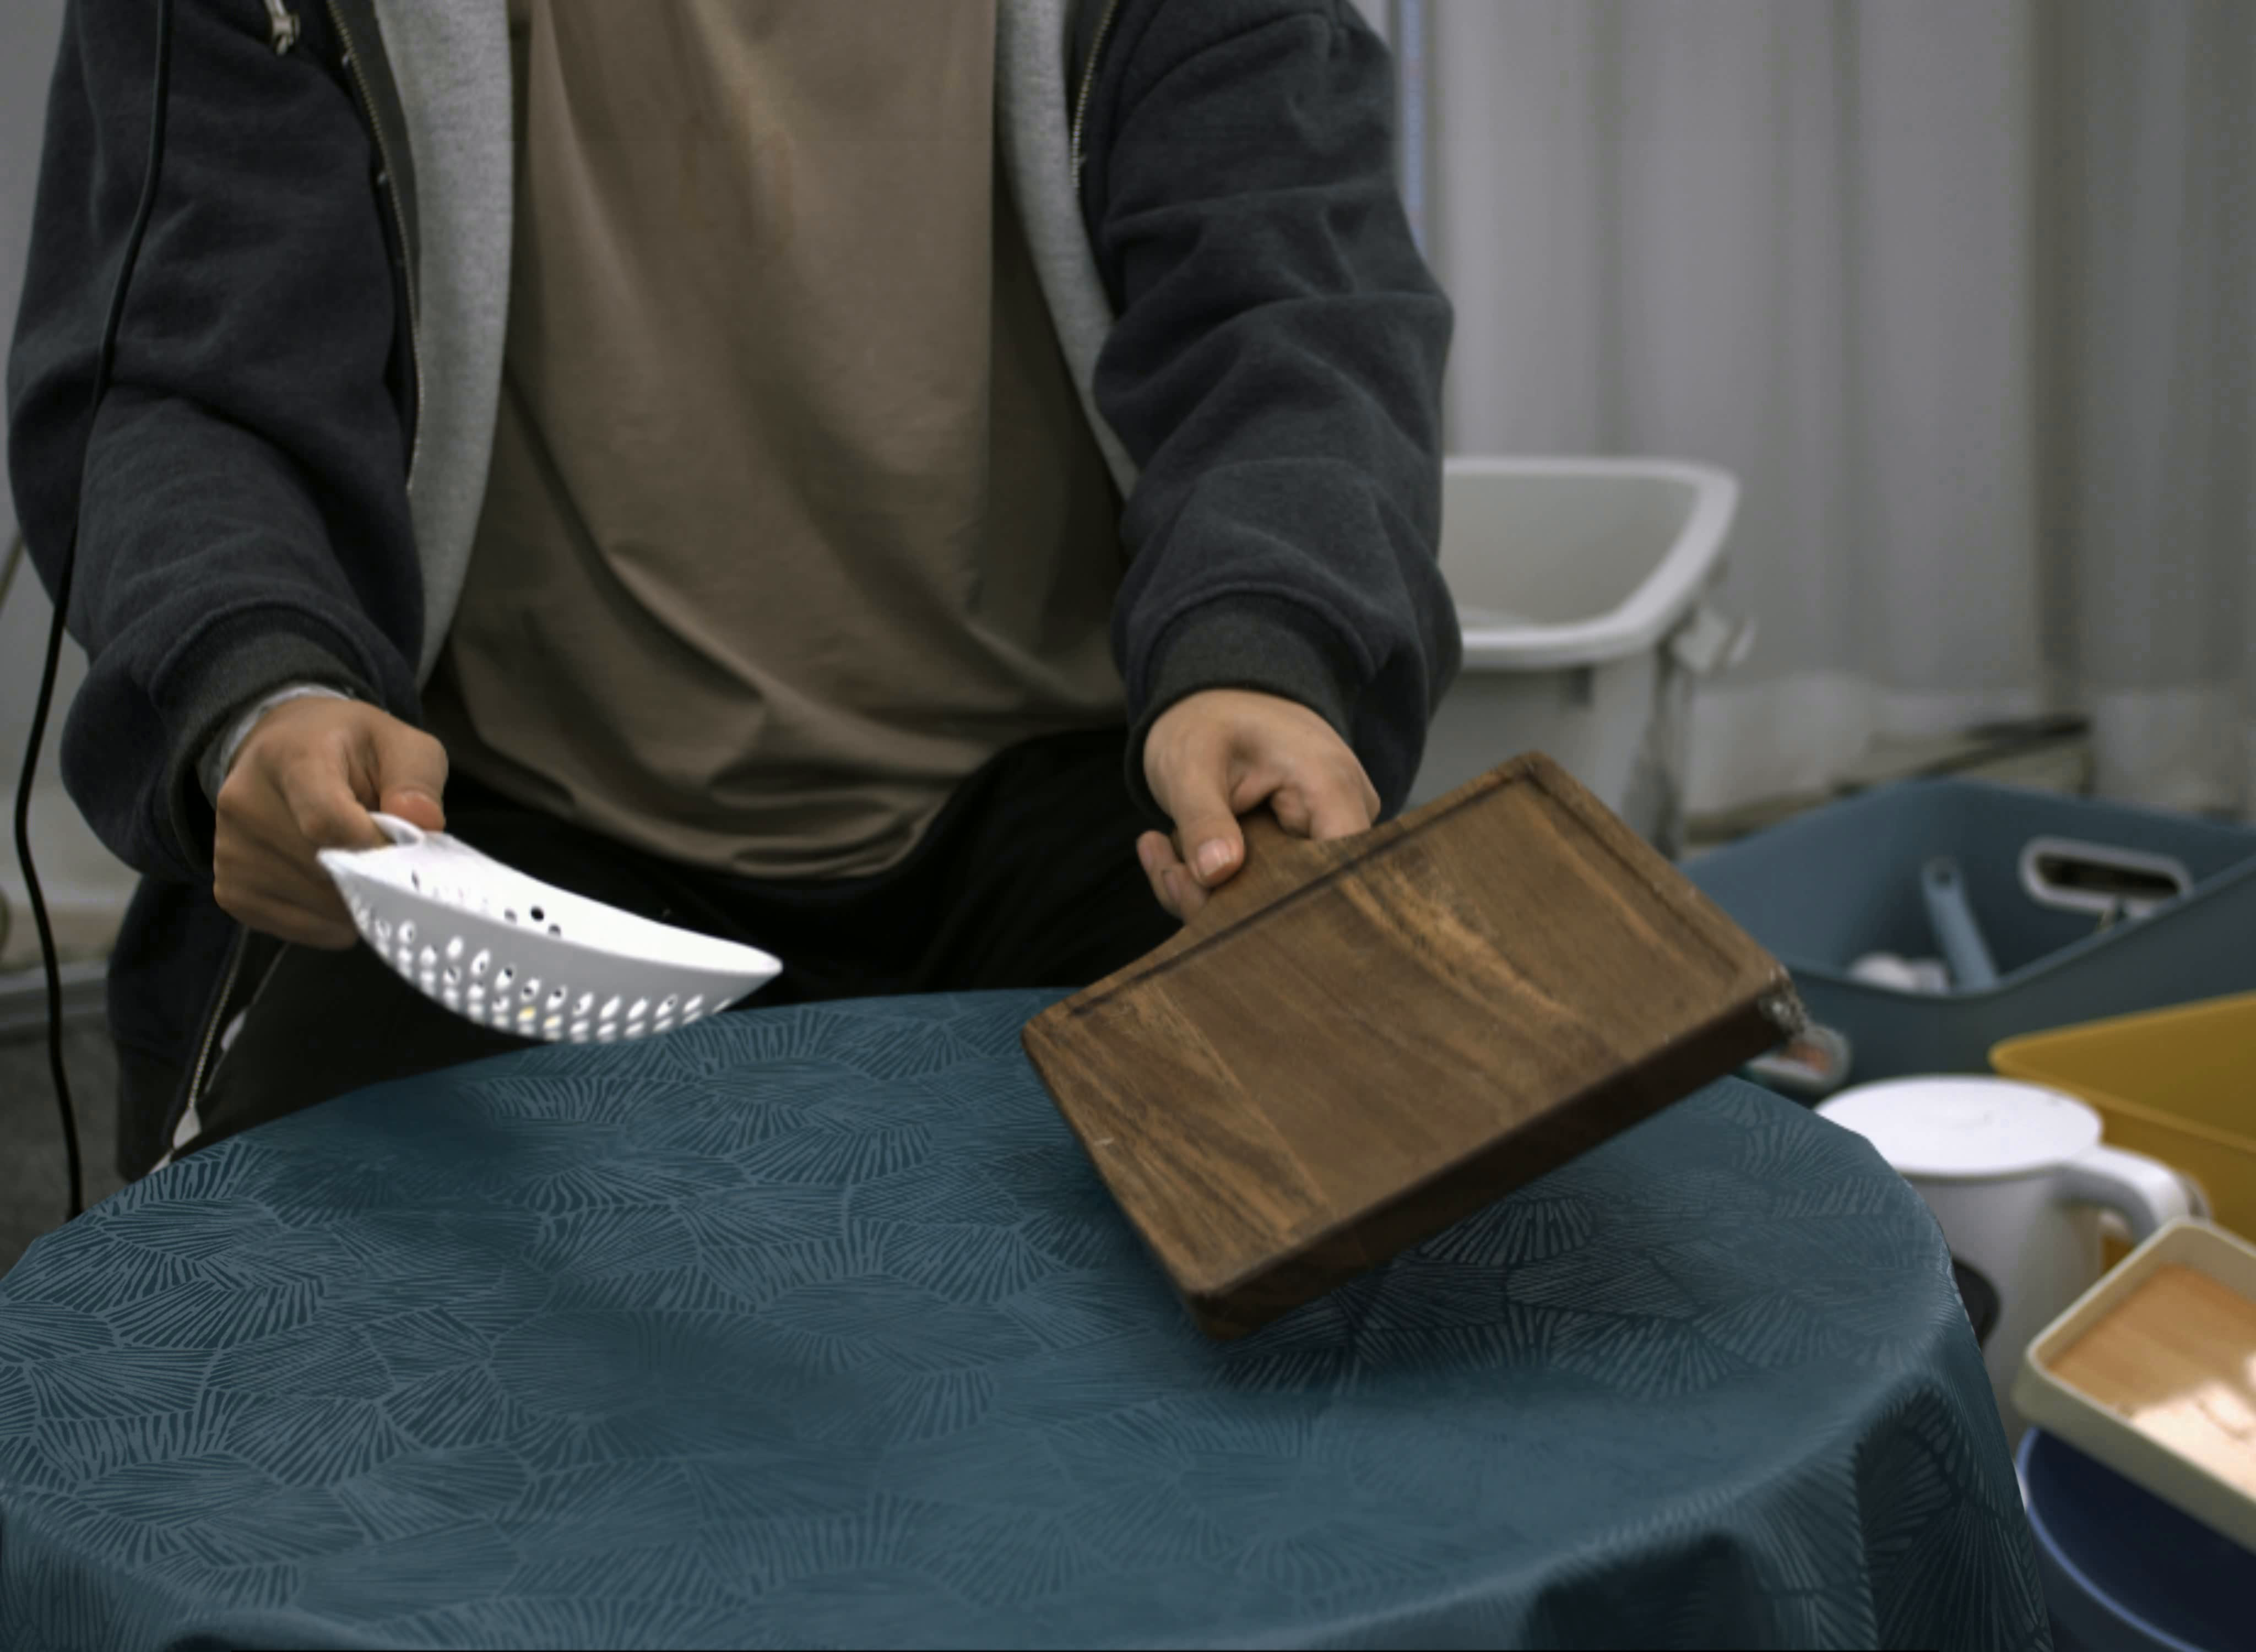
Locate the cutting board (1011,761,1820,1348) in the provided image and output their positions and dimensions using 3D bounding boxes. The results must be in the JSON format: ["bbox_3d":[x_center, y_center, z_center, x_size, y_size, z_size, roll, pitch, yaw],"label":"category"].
[{"bbox_3d":[0.068,0.049,1.700,0.201,0.023,0.355,-27,21,-5],"label":"cutting board"}]

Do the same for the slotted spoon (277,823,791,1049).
[{"bbox_3d":[-0.205,0.022,1.659,0.136,0.050,0.350,11,6,-22],"label":"slotted spoon"}]
